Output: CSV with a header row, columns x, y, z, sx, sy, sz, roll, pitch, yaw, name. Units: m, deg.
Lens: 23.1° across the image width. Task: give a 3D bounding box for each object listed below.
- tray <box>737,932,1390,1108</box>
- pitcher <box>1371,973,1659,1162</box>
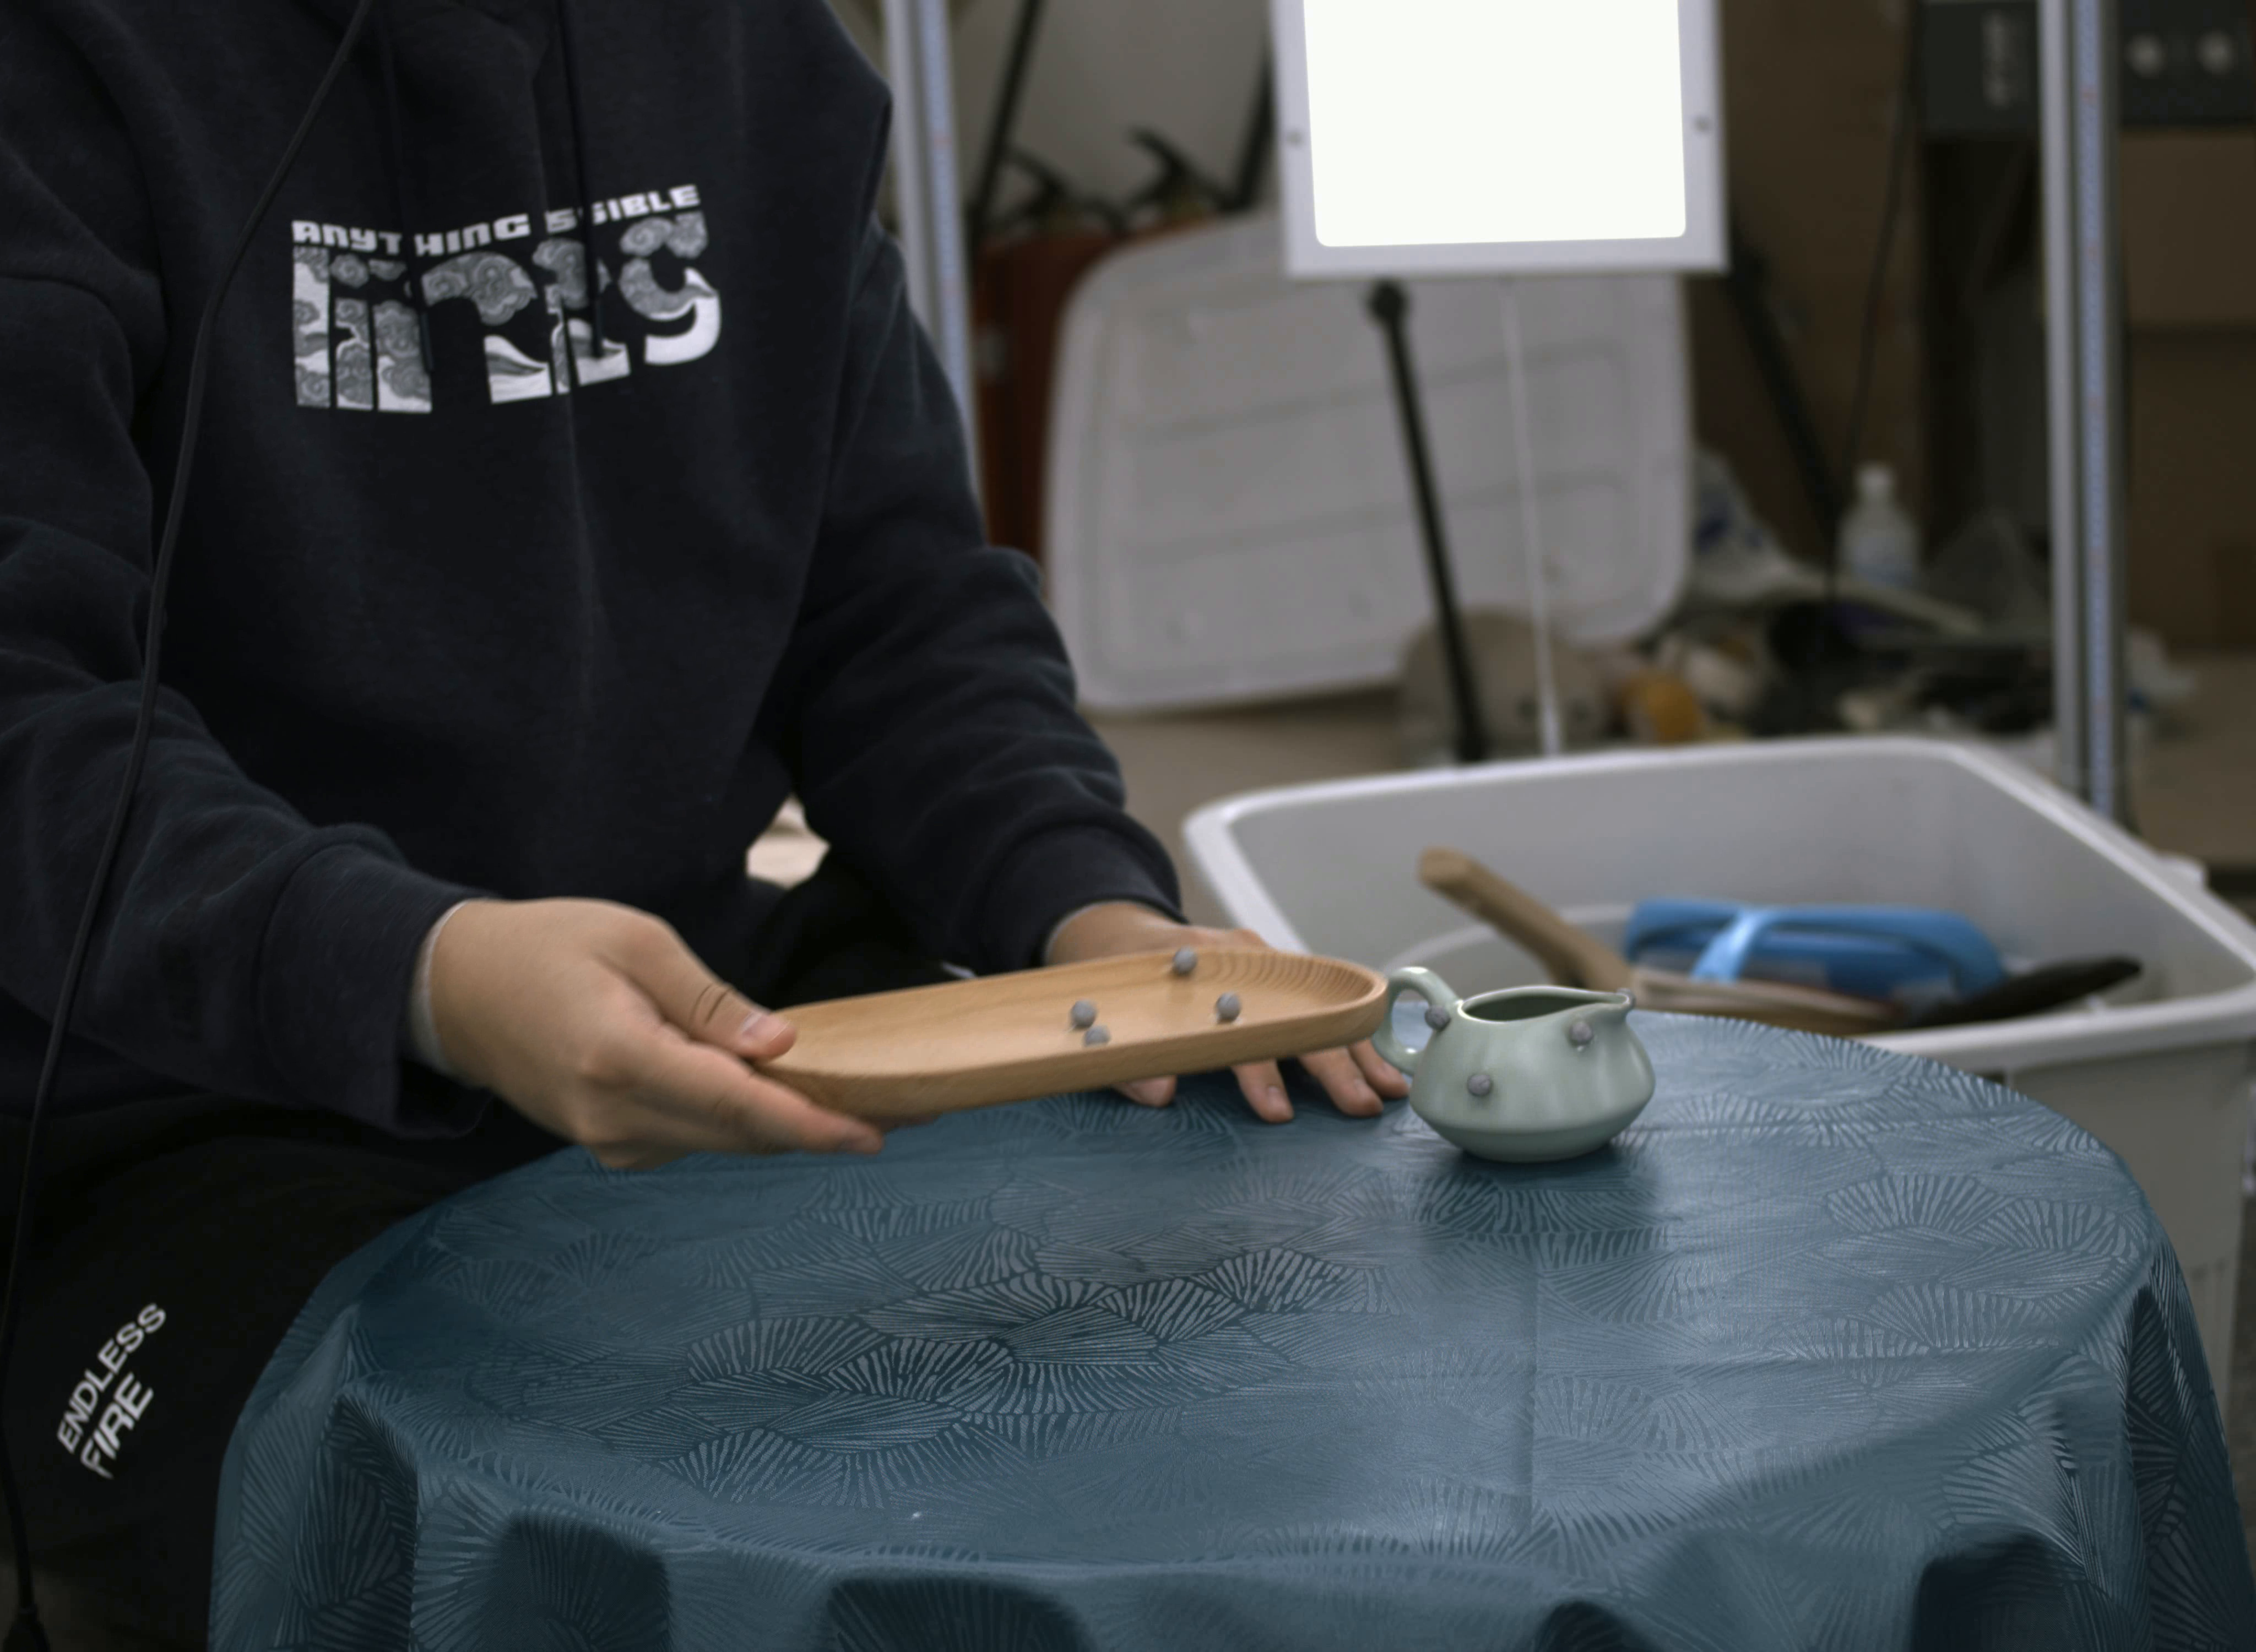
x,y,z,sx,sy,sz,roll,pitch,yaw,name
-0.018,0.062,1.764,0.226,0.020,0.103,-10,14,-31,tray
0.132,0.083,1.915,0.110,0.060,0.084,2,14,36,pitcher
